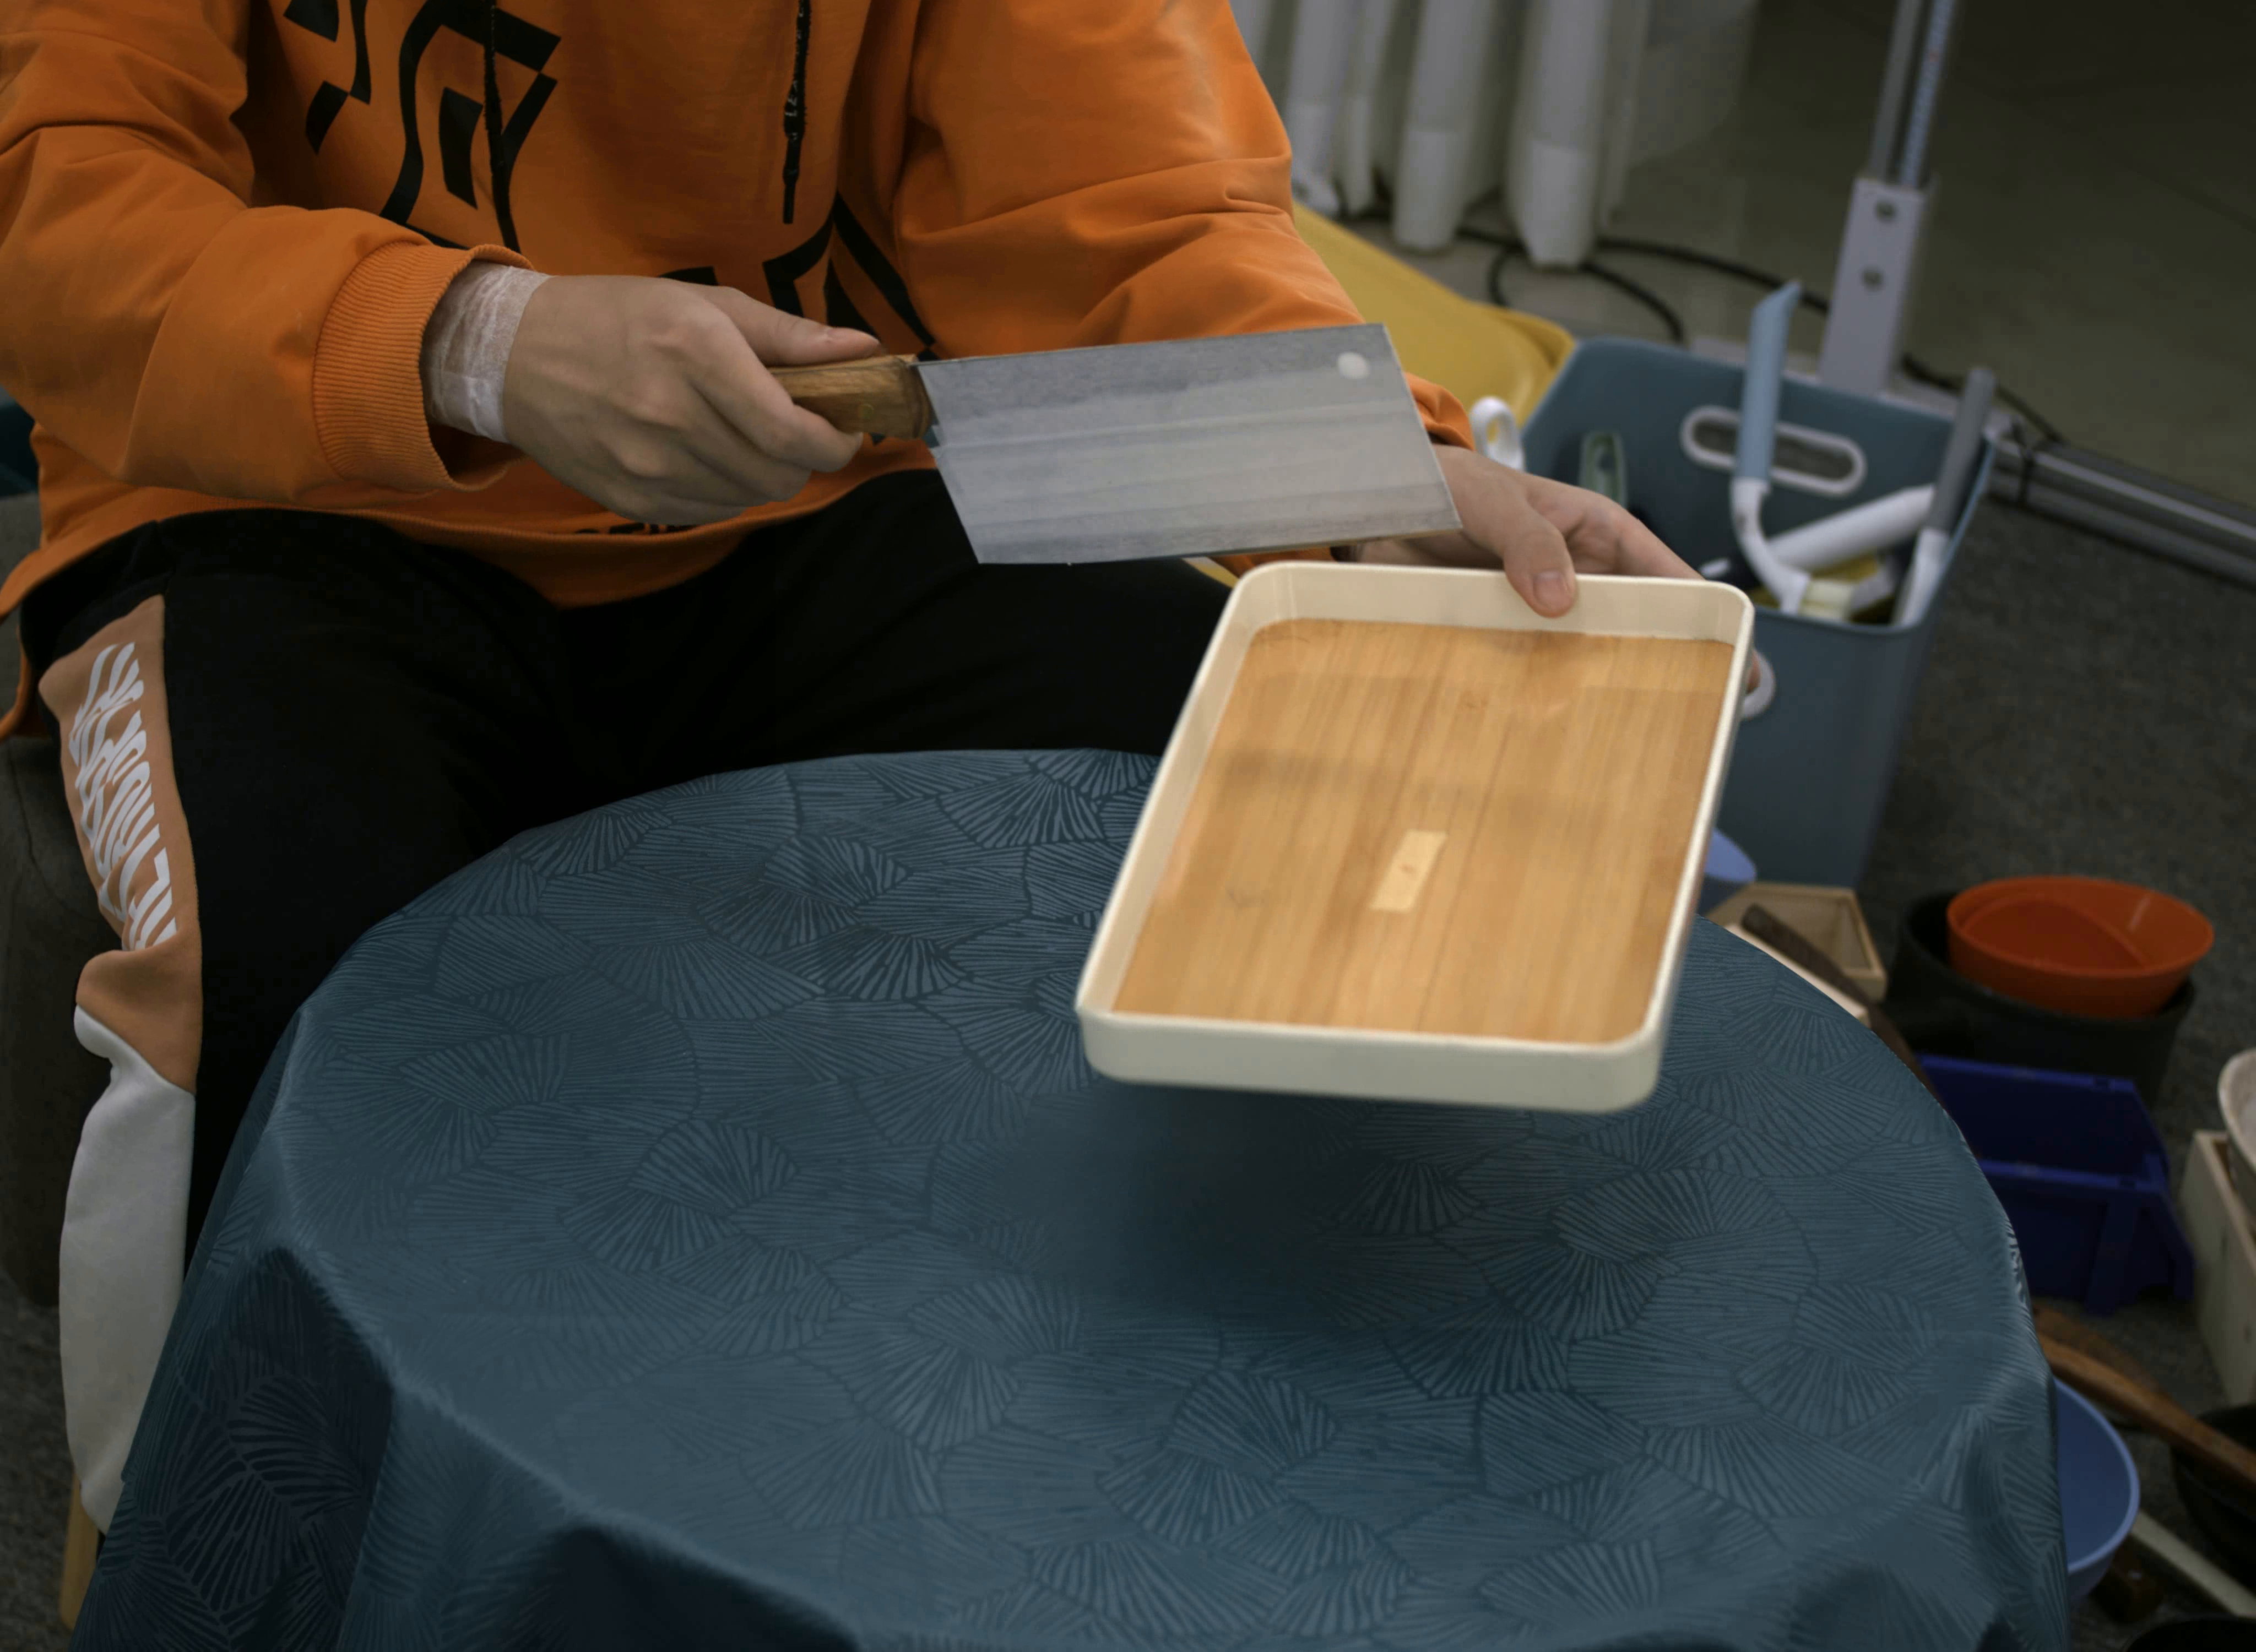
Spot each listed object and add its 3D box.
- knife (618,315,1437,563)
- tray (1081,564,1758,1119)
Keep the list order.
[{"bbox_3d":[-0.036,-0.129,1.853,0.306,0.092,0.021,-3,40,29],"label":"knife"},{"bbox_3d":[0.105,-0.001,1.815,0.191,0.027,0.301,3,33,13],"label":"tray"}]
